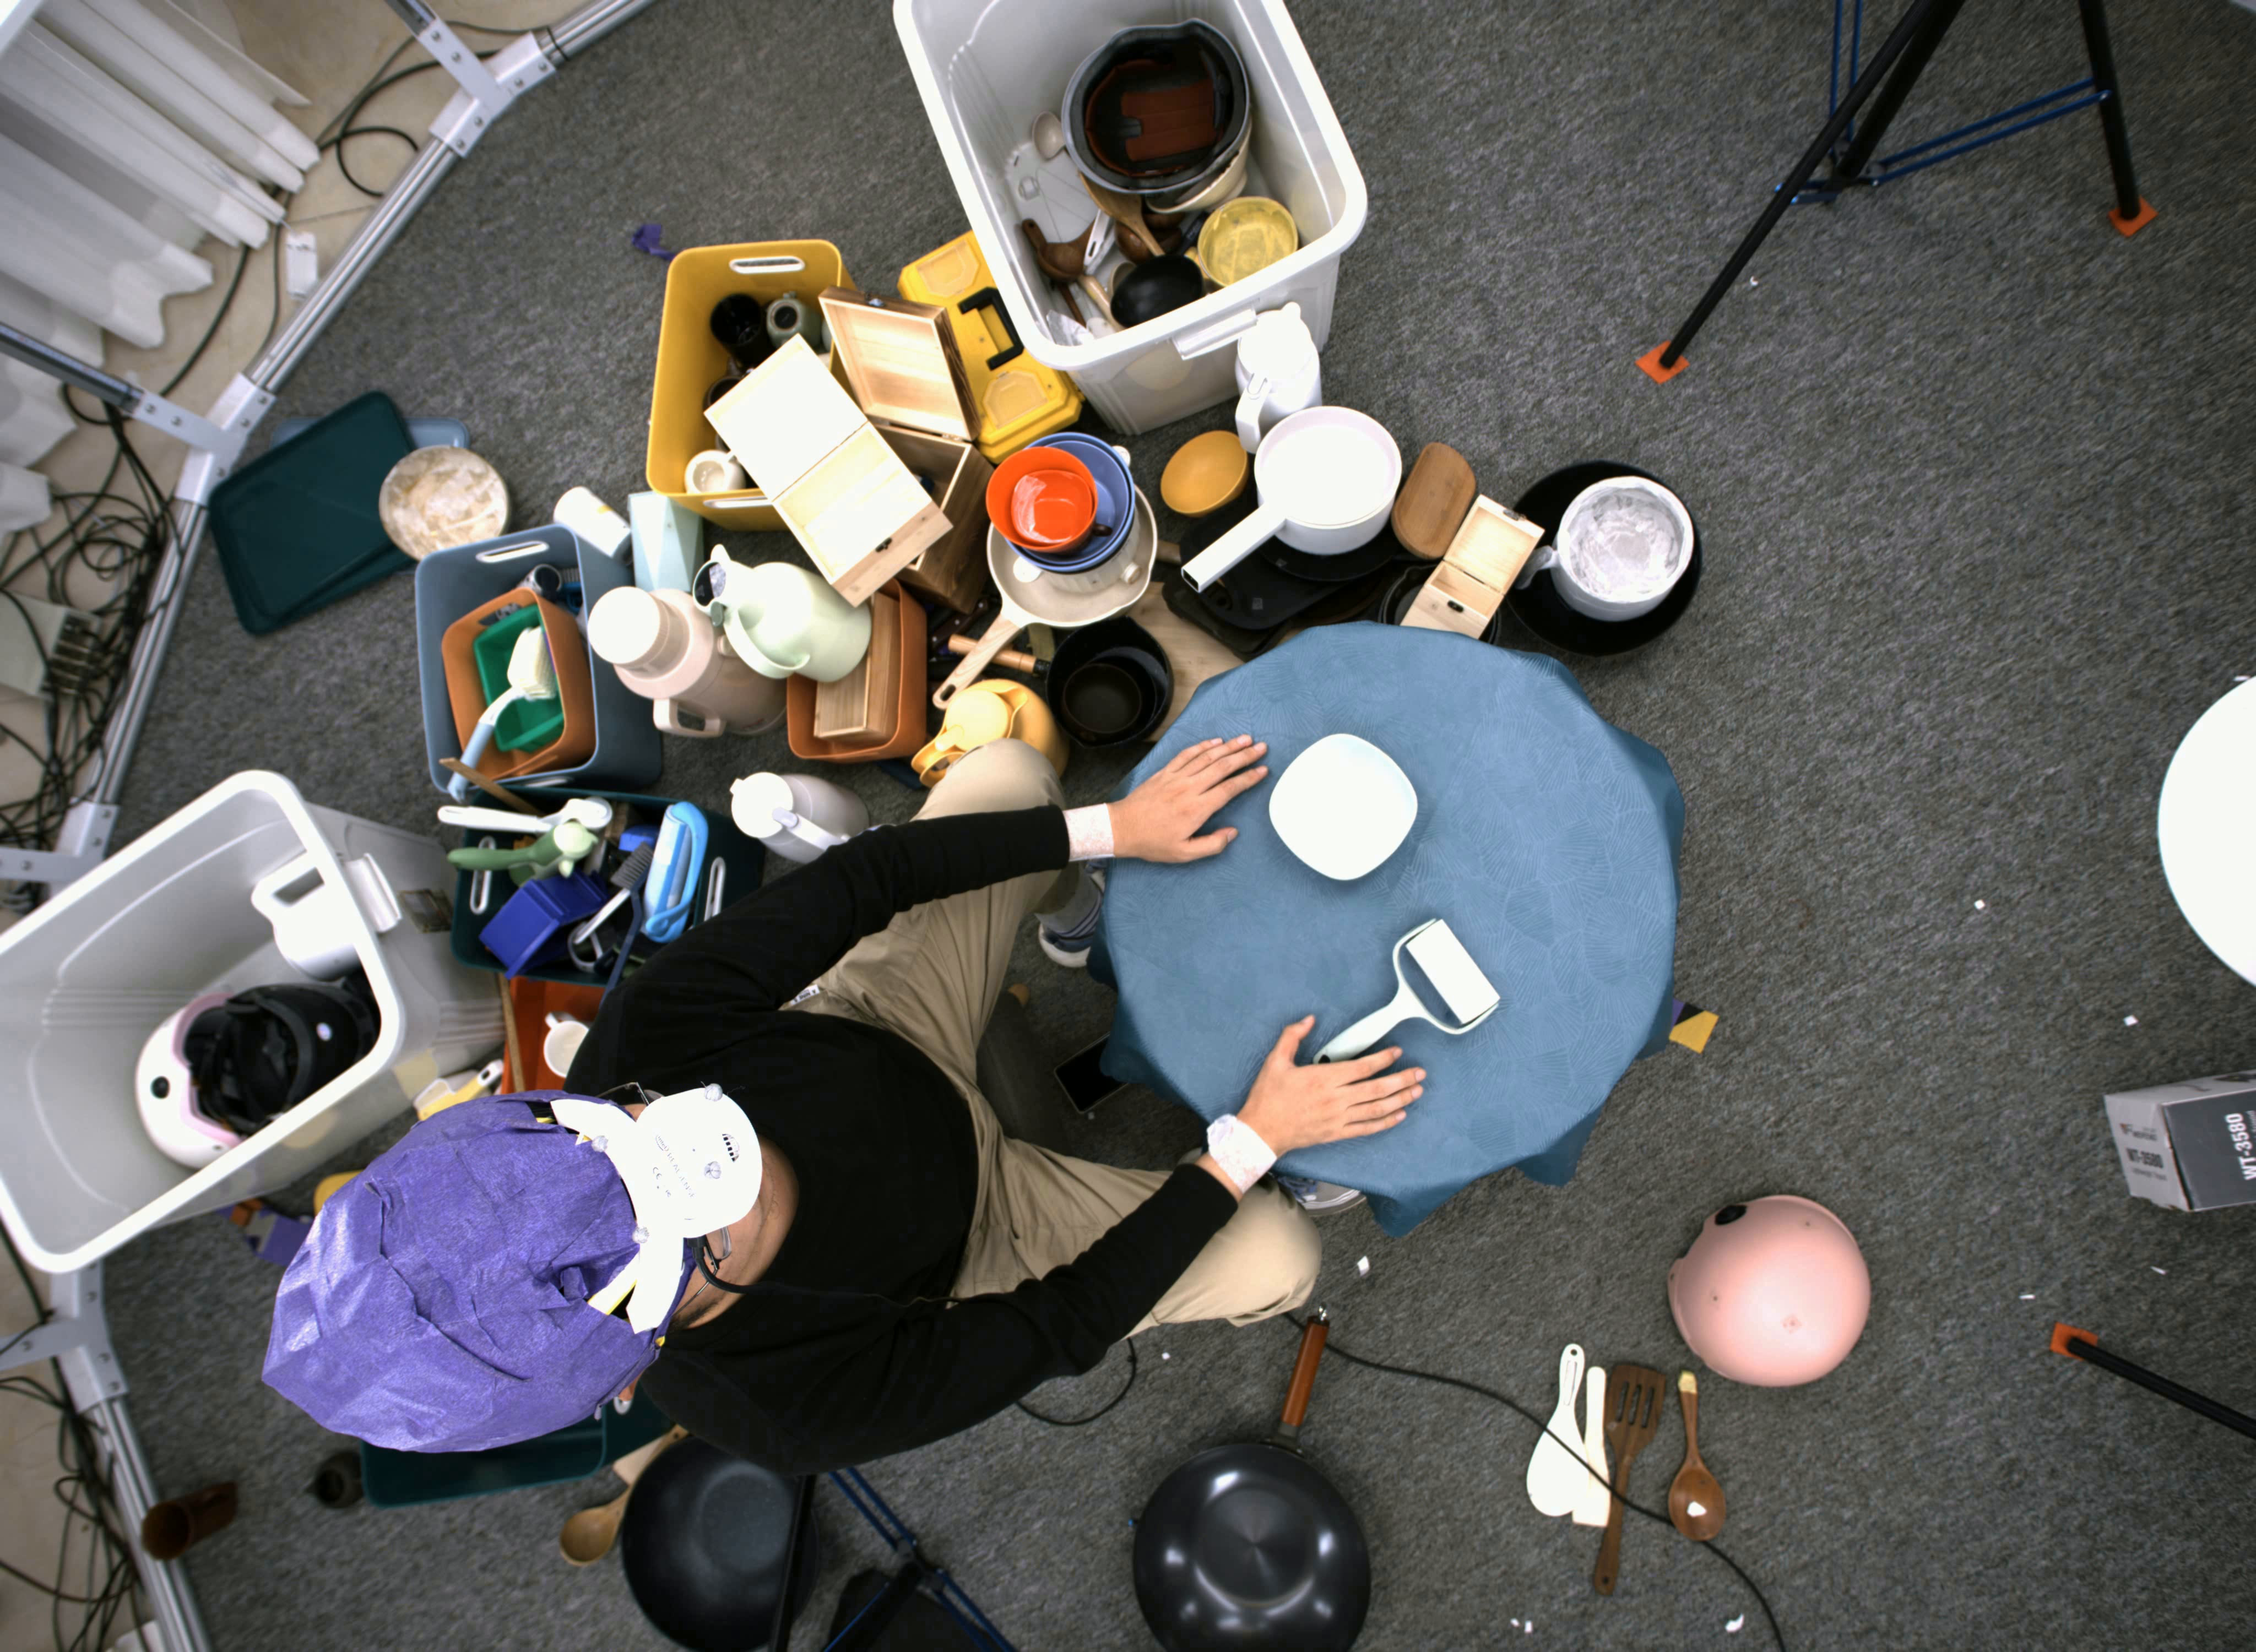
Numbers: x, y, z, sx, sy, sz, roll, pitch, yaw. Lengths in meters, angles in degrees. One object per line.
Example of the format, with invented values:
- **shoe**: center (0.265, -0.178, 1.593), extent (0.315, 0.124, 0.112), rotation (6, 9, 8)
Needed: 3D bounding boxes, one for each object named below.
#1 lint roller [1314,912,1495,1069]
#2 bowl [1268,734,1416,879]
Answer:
- **lint roller**: center (0.270, 0.185, 1.432), extent (0.199, 0.048, 0.116), rotation (-37, 83, 7)
- **bowl**: center (0.223, -0.019, 1.445), extent (0.152, 0.059, 0.151), rotation (-1, 86, 9)
